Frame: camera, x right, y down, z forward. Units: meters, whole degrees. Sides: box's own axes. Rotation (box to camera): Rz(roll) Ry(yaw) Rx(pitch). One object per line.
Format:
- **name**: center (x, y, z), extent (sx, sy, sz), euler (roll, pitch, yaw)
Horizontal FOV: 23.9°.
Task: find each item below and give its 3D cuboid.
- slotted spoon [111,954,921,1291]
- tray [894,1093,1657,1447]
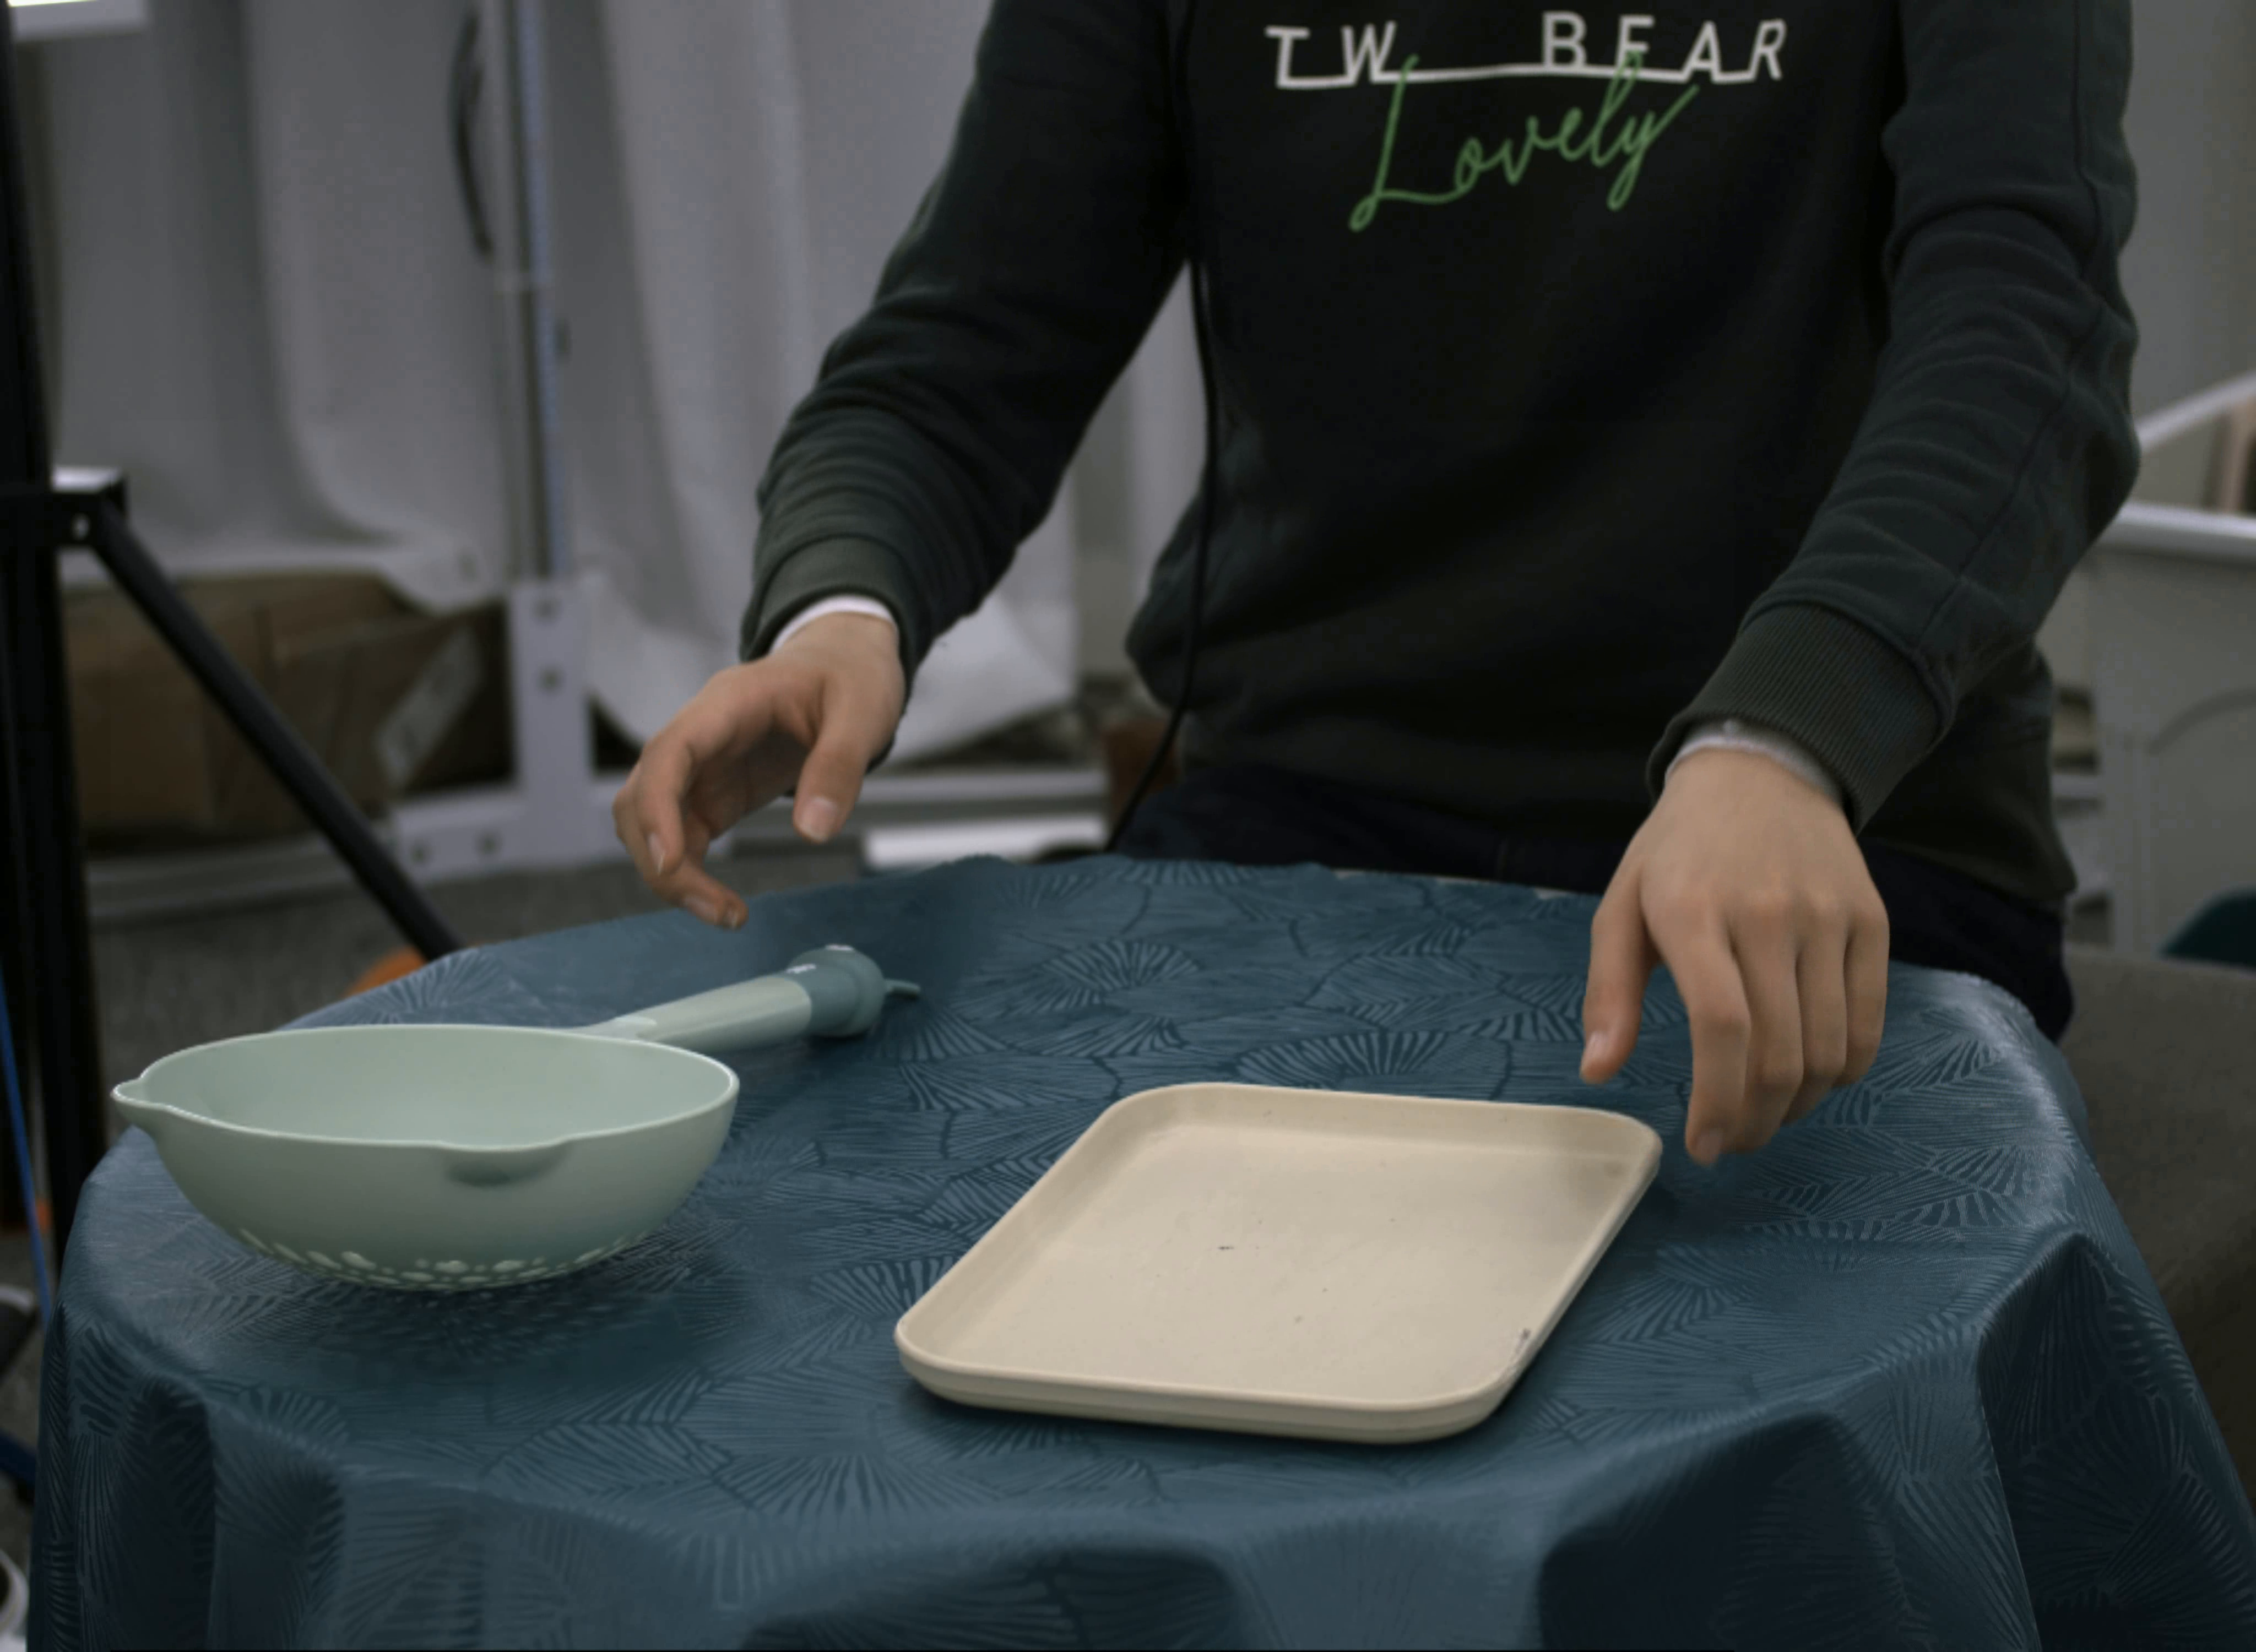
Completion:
- **slotted spoon**: center (-0.152, 0.073, 1.593), extent (0.172, 0.075, 0.353), euler (6, 17, 26)
- **tray**: center (0.046, 0.122, 1.473), extent (0.173, 0.017, 0.237), euler (3, 16, 18)
